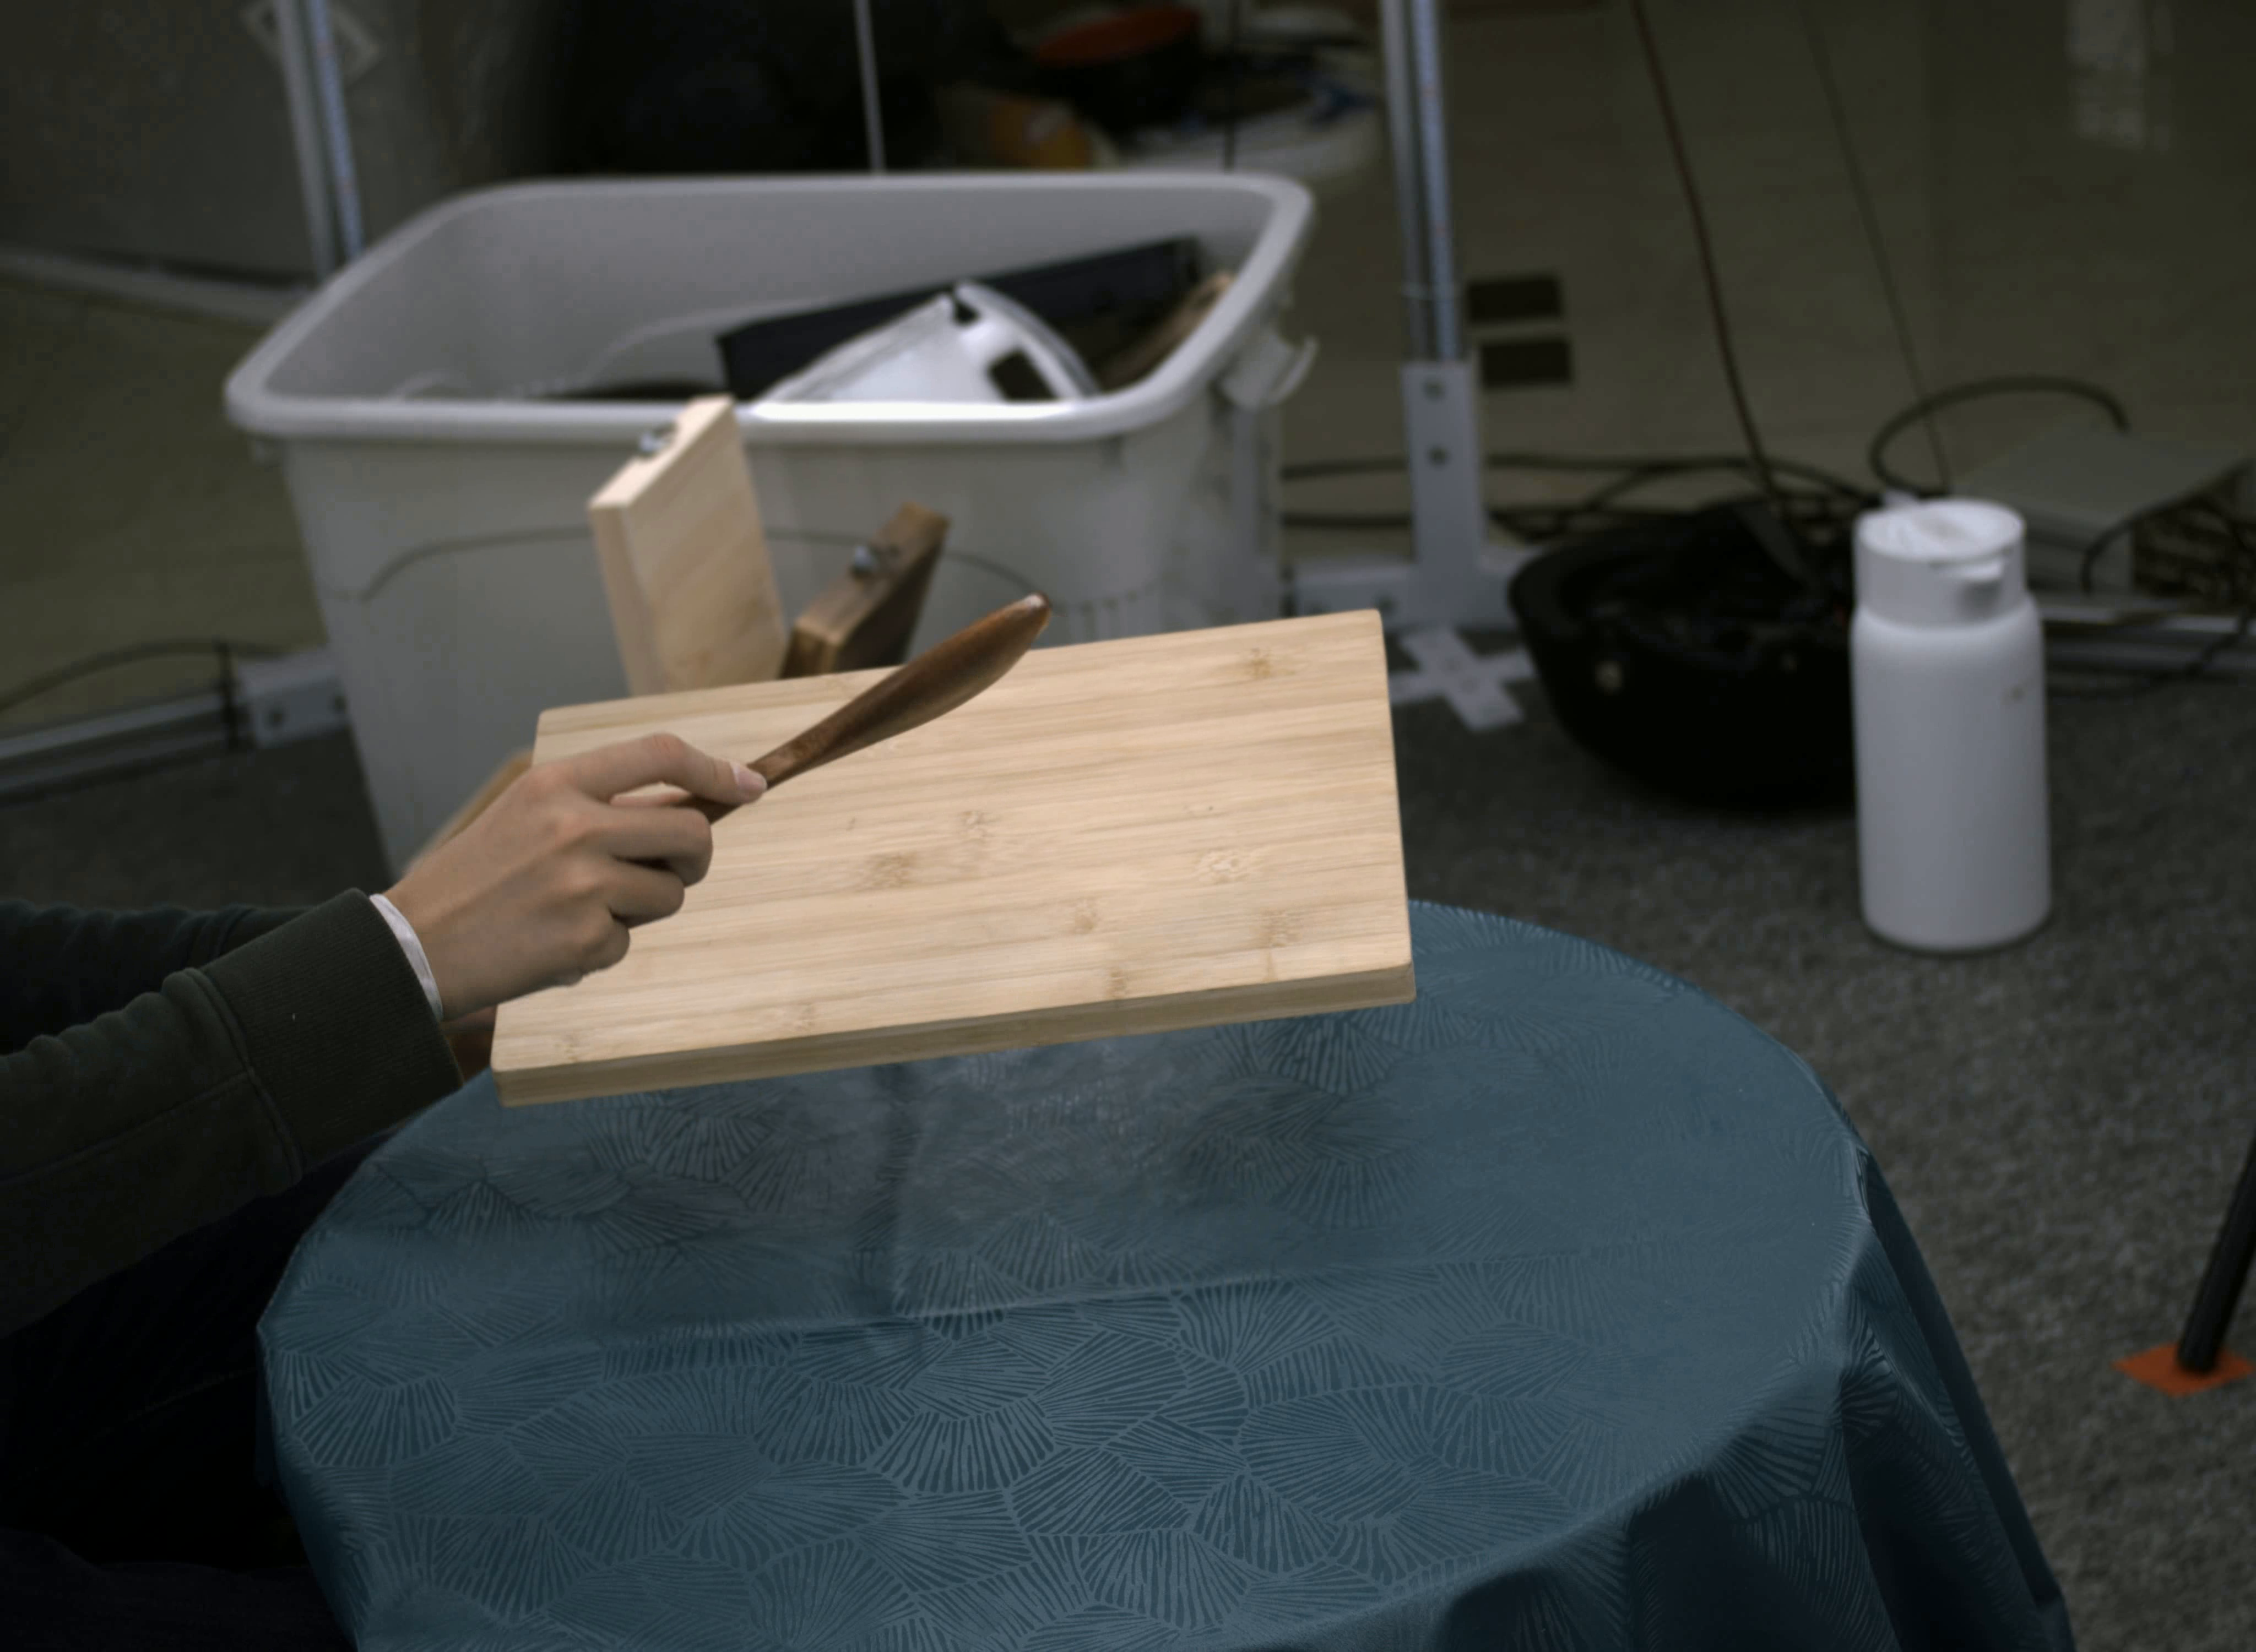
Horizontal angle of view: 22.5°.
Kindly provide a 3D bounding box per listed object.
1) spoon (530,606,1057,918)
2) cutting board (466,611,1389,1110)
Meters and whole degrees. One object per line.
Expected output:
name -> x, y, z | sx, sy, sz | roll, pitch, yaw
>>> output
spoon -> -0.113, -0.022, 1.955 | 0.214, 0.017, 0.076 | -28, -2, -21
cutting board -> -0.072, 0.010, 2.160 | 0.348, 0.024, 0.246 | -7, 35, 3
